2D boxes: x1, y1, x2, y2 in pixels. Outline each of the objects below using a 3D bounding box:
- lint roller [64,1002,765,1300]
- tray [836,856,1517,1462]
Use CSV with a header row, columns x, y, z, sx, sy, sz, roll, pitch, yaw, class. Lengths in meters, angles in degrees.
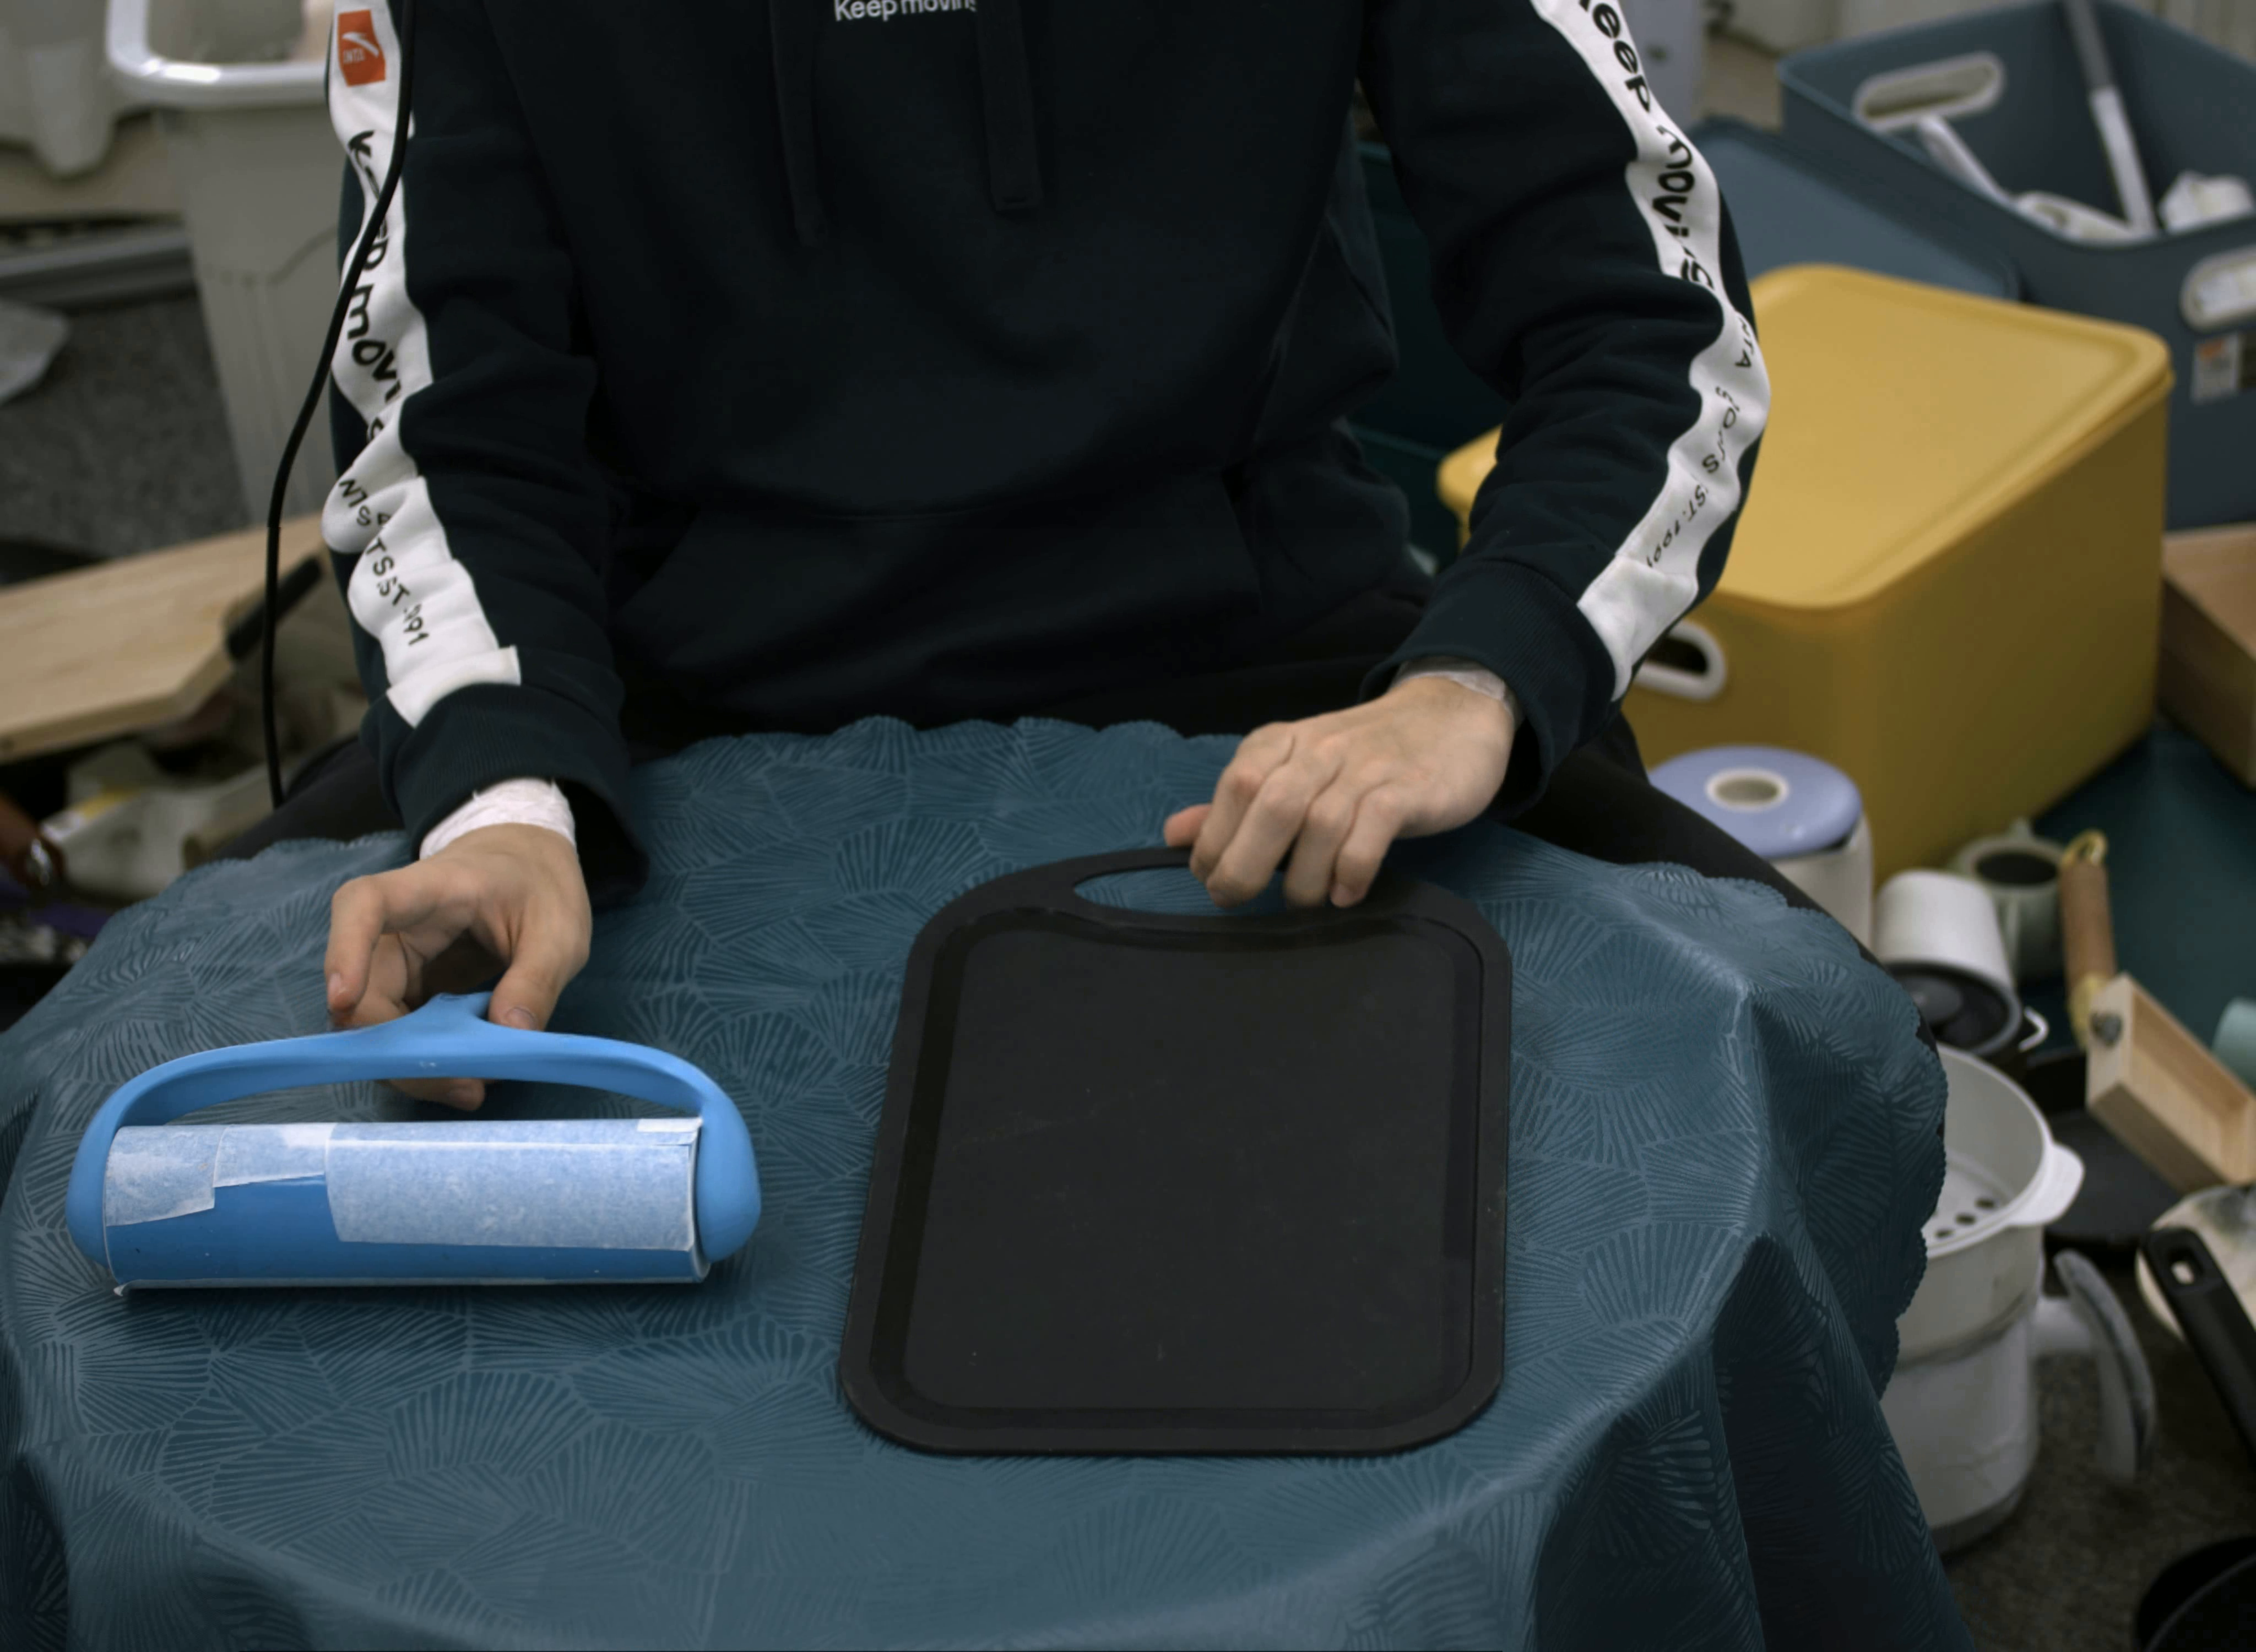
x,y,z,sx,sy,sz,roll,pitch,yaw,class
-0.230,0.095,1.873,0.228,0.067,0.183,-4,29,2,lint roller
0.021,0.101,1.855,0.210,0.009,0.331,1,34,5,tray
